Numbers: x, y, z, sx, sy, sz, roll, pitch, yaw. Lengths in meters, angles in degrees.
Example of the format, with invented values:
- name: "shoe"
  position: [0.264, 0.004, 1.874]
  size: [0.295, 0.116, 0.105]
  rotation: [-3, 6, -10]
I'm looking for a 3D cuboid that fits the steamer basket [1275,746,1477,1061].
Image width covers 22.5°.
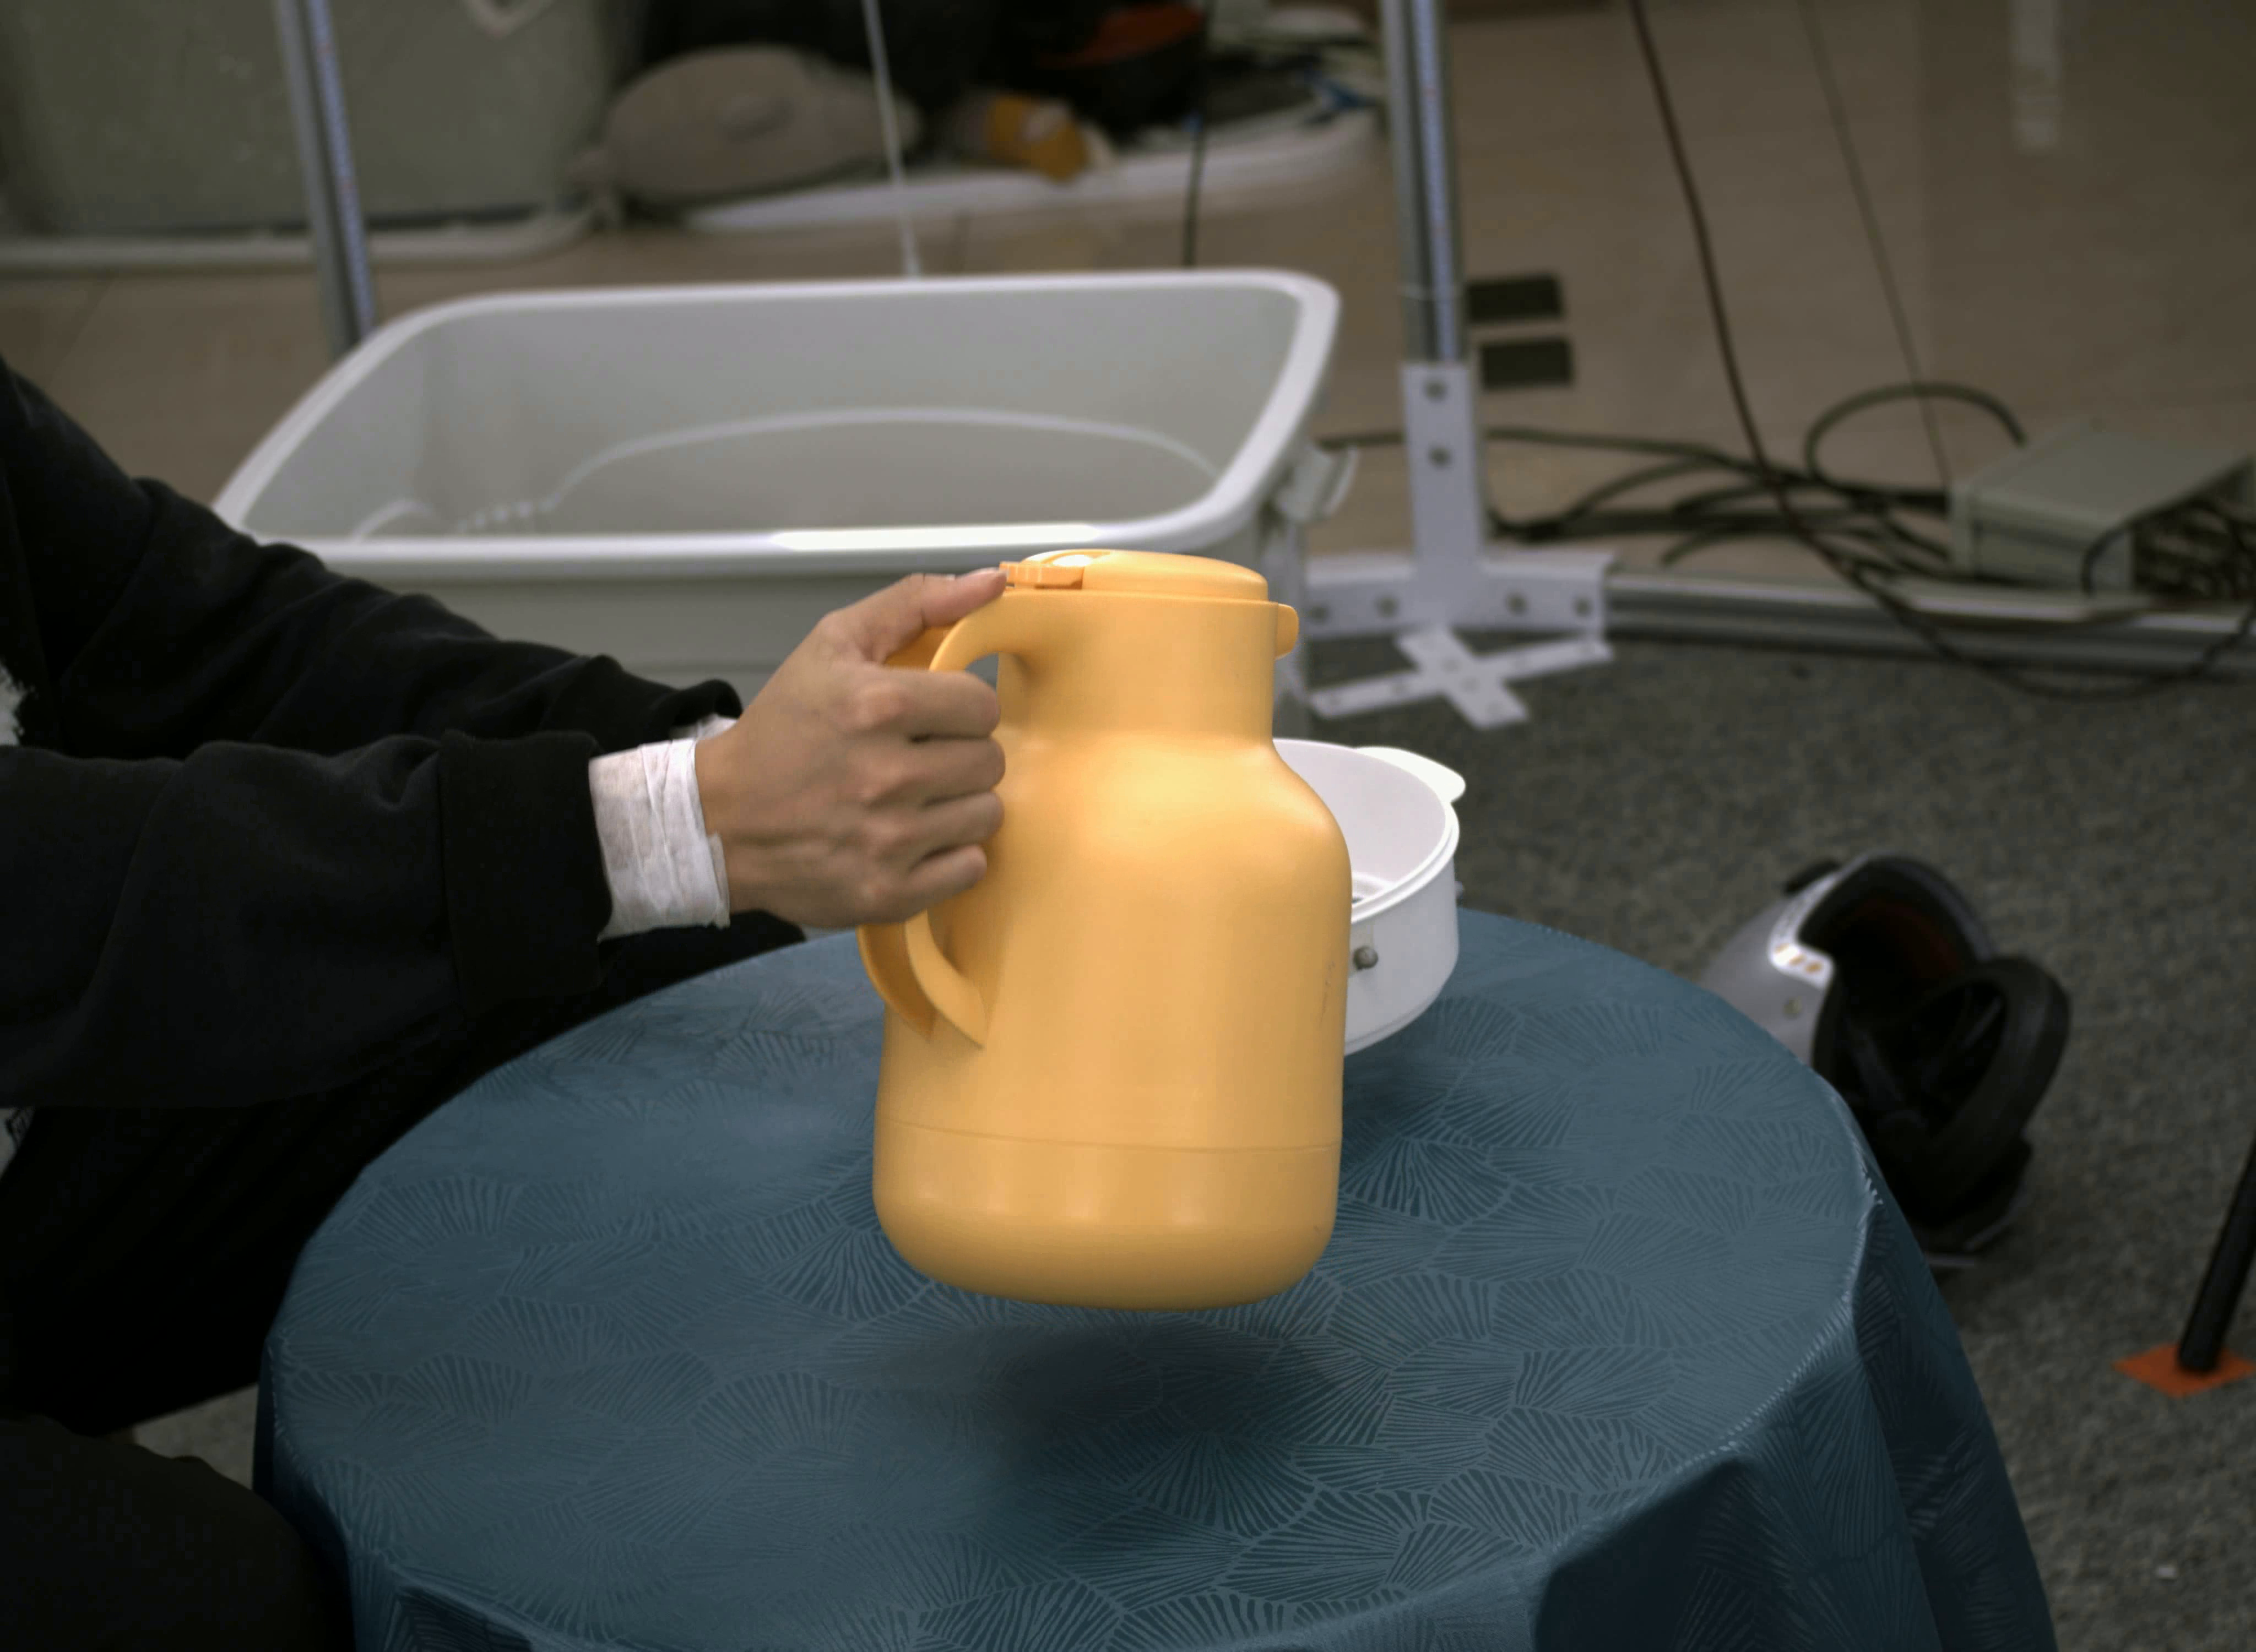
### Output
- name: "steamer basket"
  position: [0.035, 0.034, 2.207]
  size: [0.229, 0.070, 0.200]
  rotation: [-18, 25, -30]

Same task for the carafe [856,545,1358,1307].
- name: "carafe"
  position: [-0.016, 0.032, 1.962]
  size: [0.202, 0.261, 0.163]
  rotation: [1, 2, -45]
